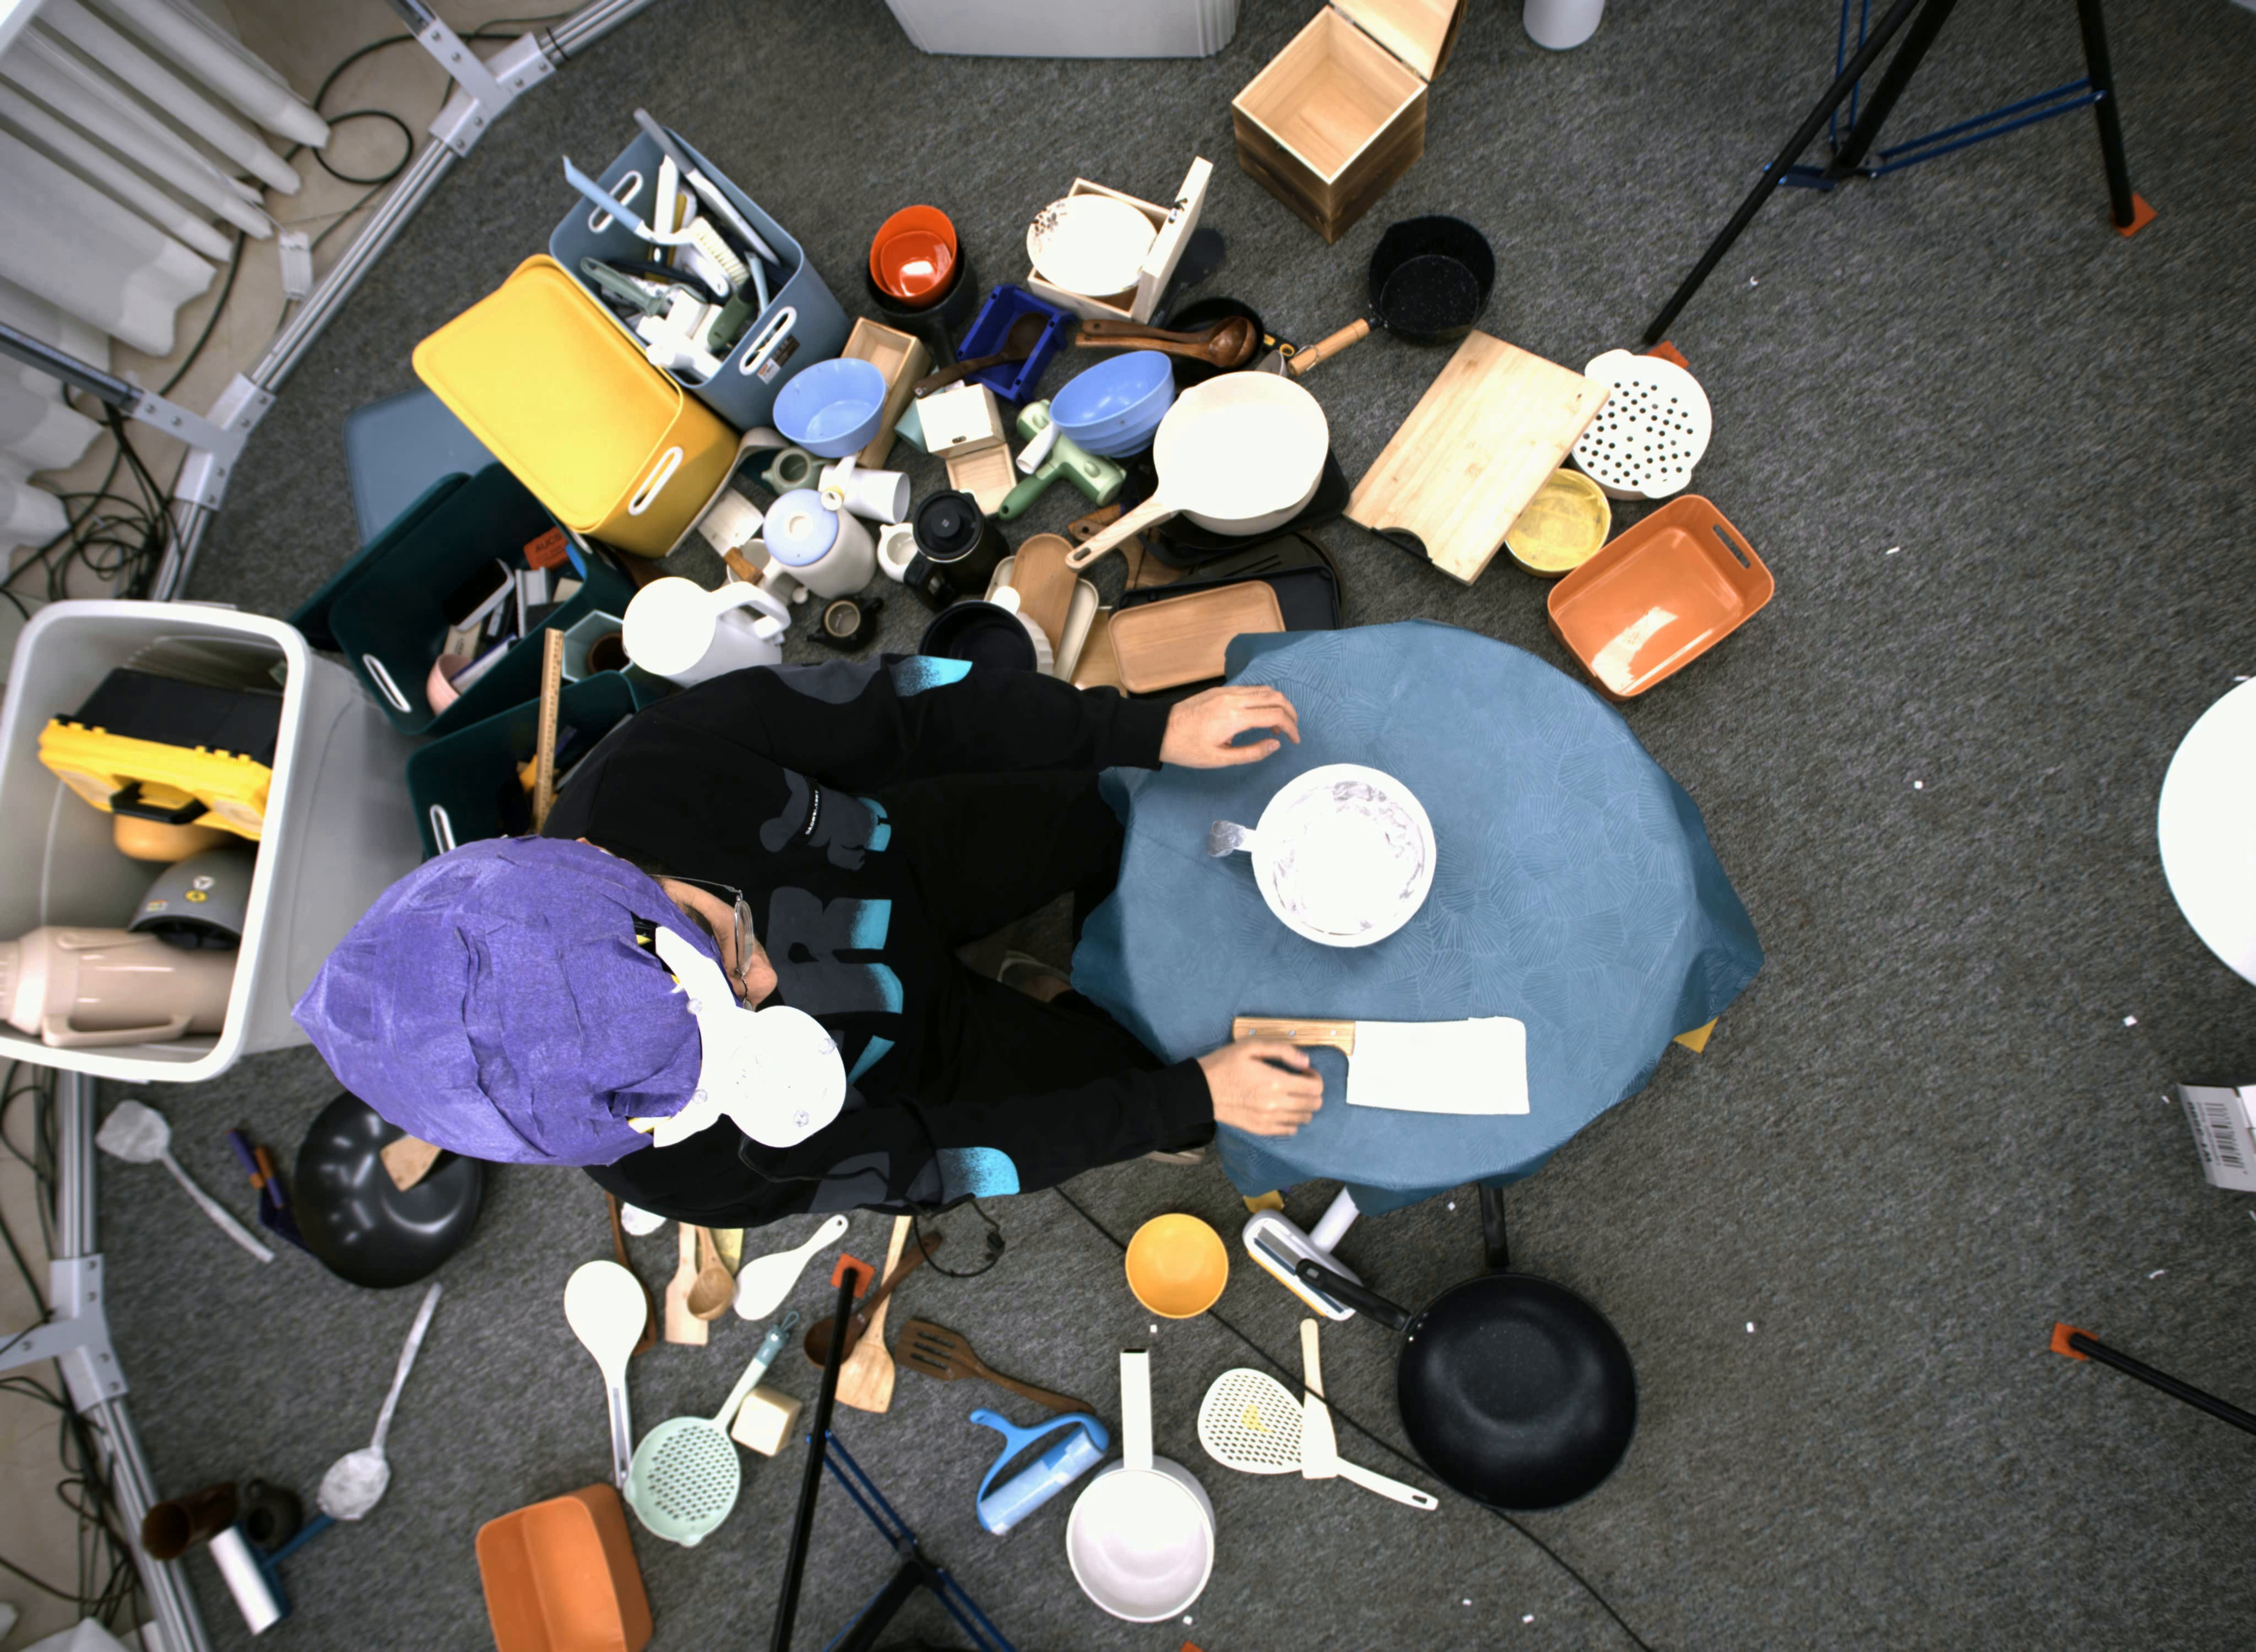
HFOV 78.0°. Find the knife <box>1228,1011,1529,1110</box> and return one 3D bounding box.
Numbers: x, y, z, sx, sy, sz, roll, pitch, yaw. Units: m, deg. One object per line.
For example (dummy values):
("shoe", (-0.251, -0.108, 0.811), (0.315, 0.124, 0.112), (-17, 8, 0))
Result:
("knife", (0.261, 0.236, 1.443), (0.316, 0.022, 0.113), (5, 88, 8))

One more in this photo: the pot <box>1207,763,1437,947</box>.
("pot", (0.192, 0.028, 1.407), (0.234, 0.137, 0.178), (9, 87, 10))
